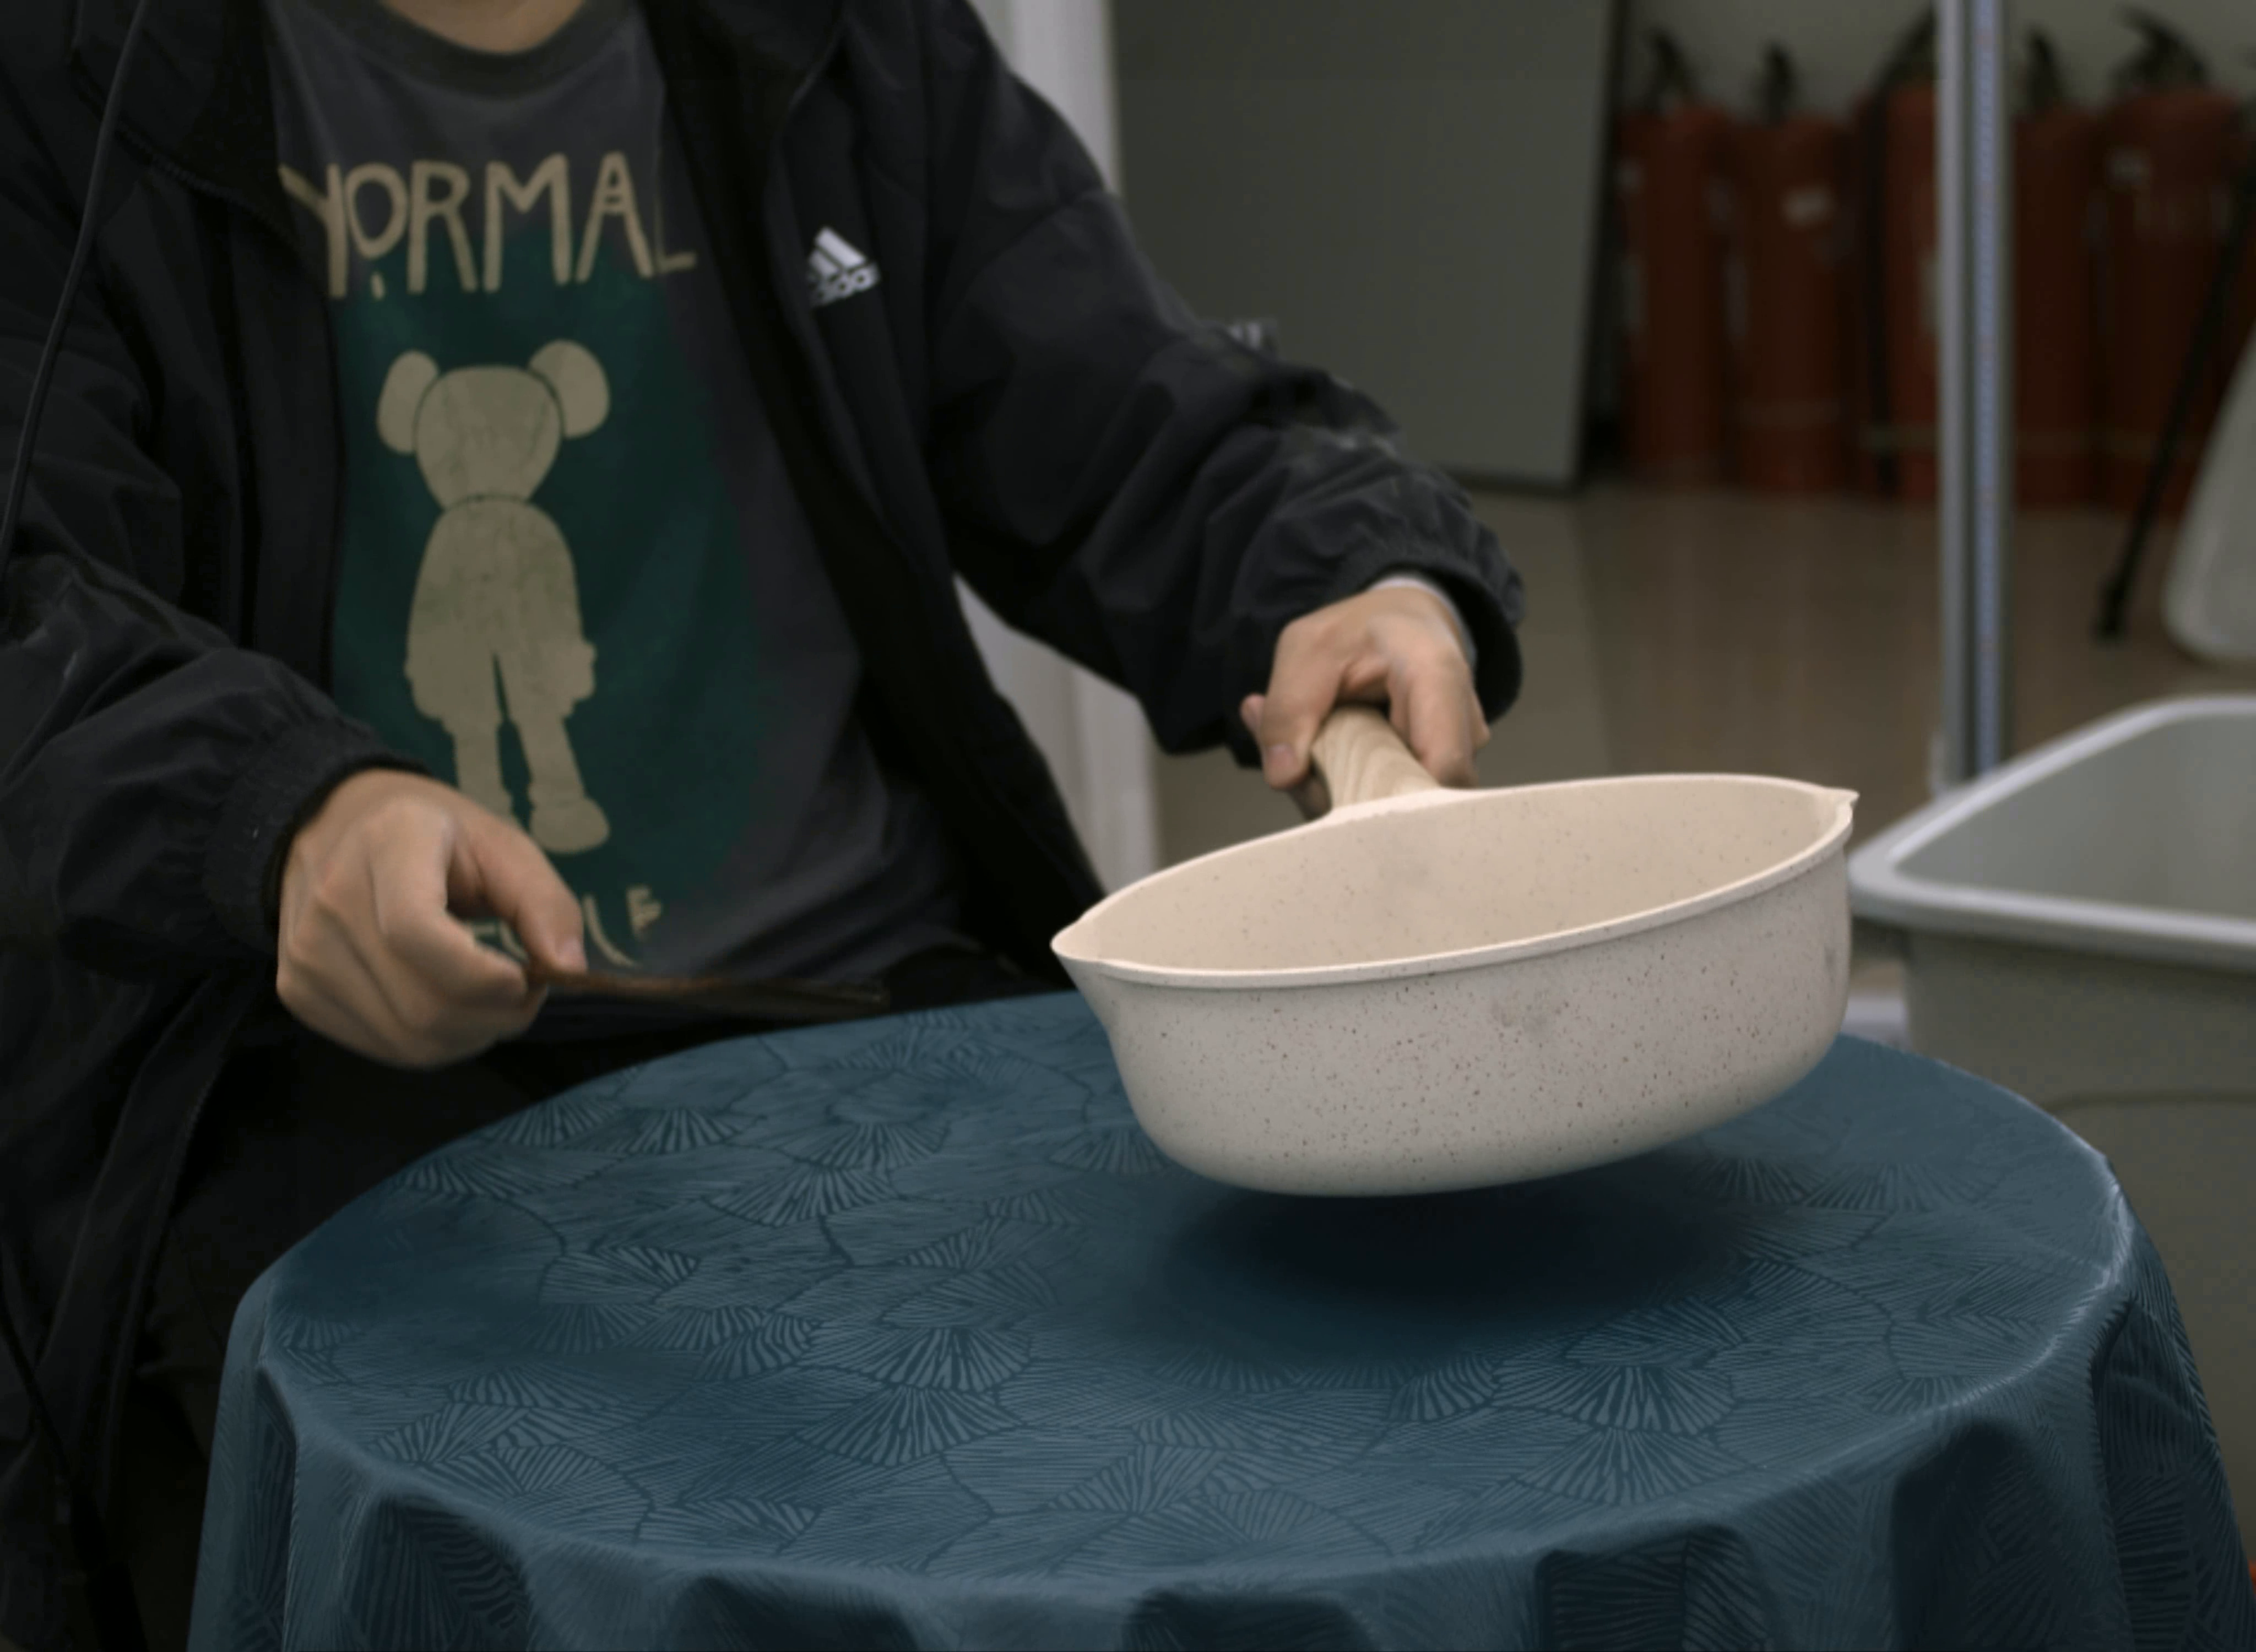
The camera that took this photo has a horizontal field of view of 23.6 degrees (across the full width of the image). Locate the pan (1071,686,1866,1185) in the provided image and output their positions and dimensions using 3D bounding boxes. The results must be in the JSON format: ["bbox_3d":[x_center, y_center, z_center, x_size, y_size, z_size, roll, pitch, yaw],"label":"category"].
[{"bbox_3d":[0.104,0.027,1.794,0.260,0.103,0.436,-13,9,-5],"label":"pan"}]

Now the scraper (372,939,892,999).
[{"bbox_3d":[-0.164,0.043,1.686,0.074,0.011,0.213,9,-5,-44],"label":"scraper"}]
